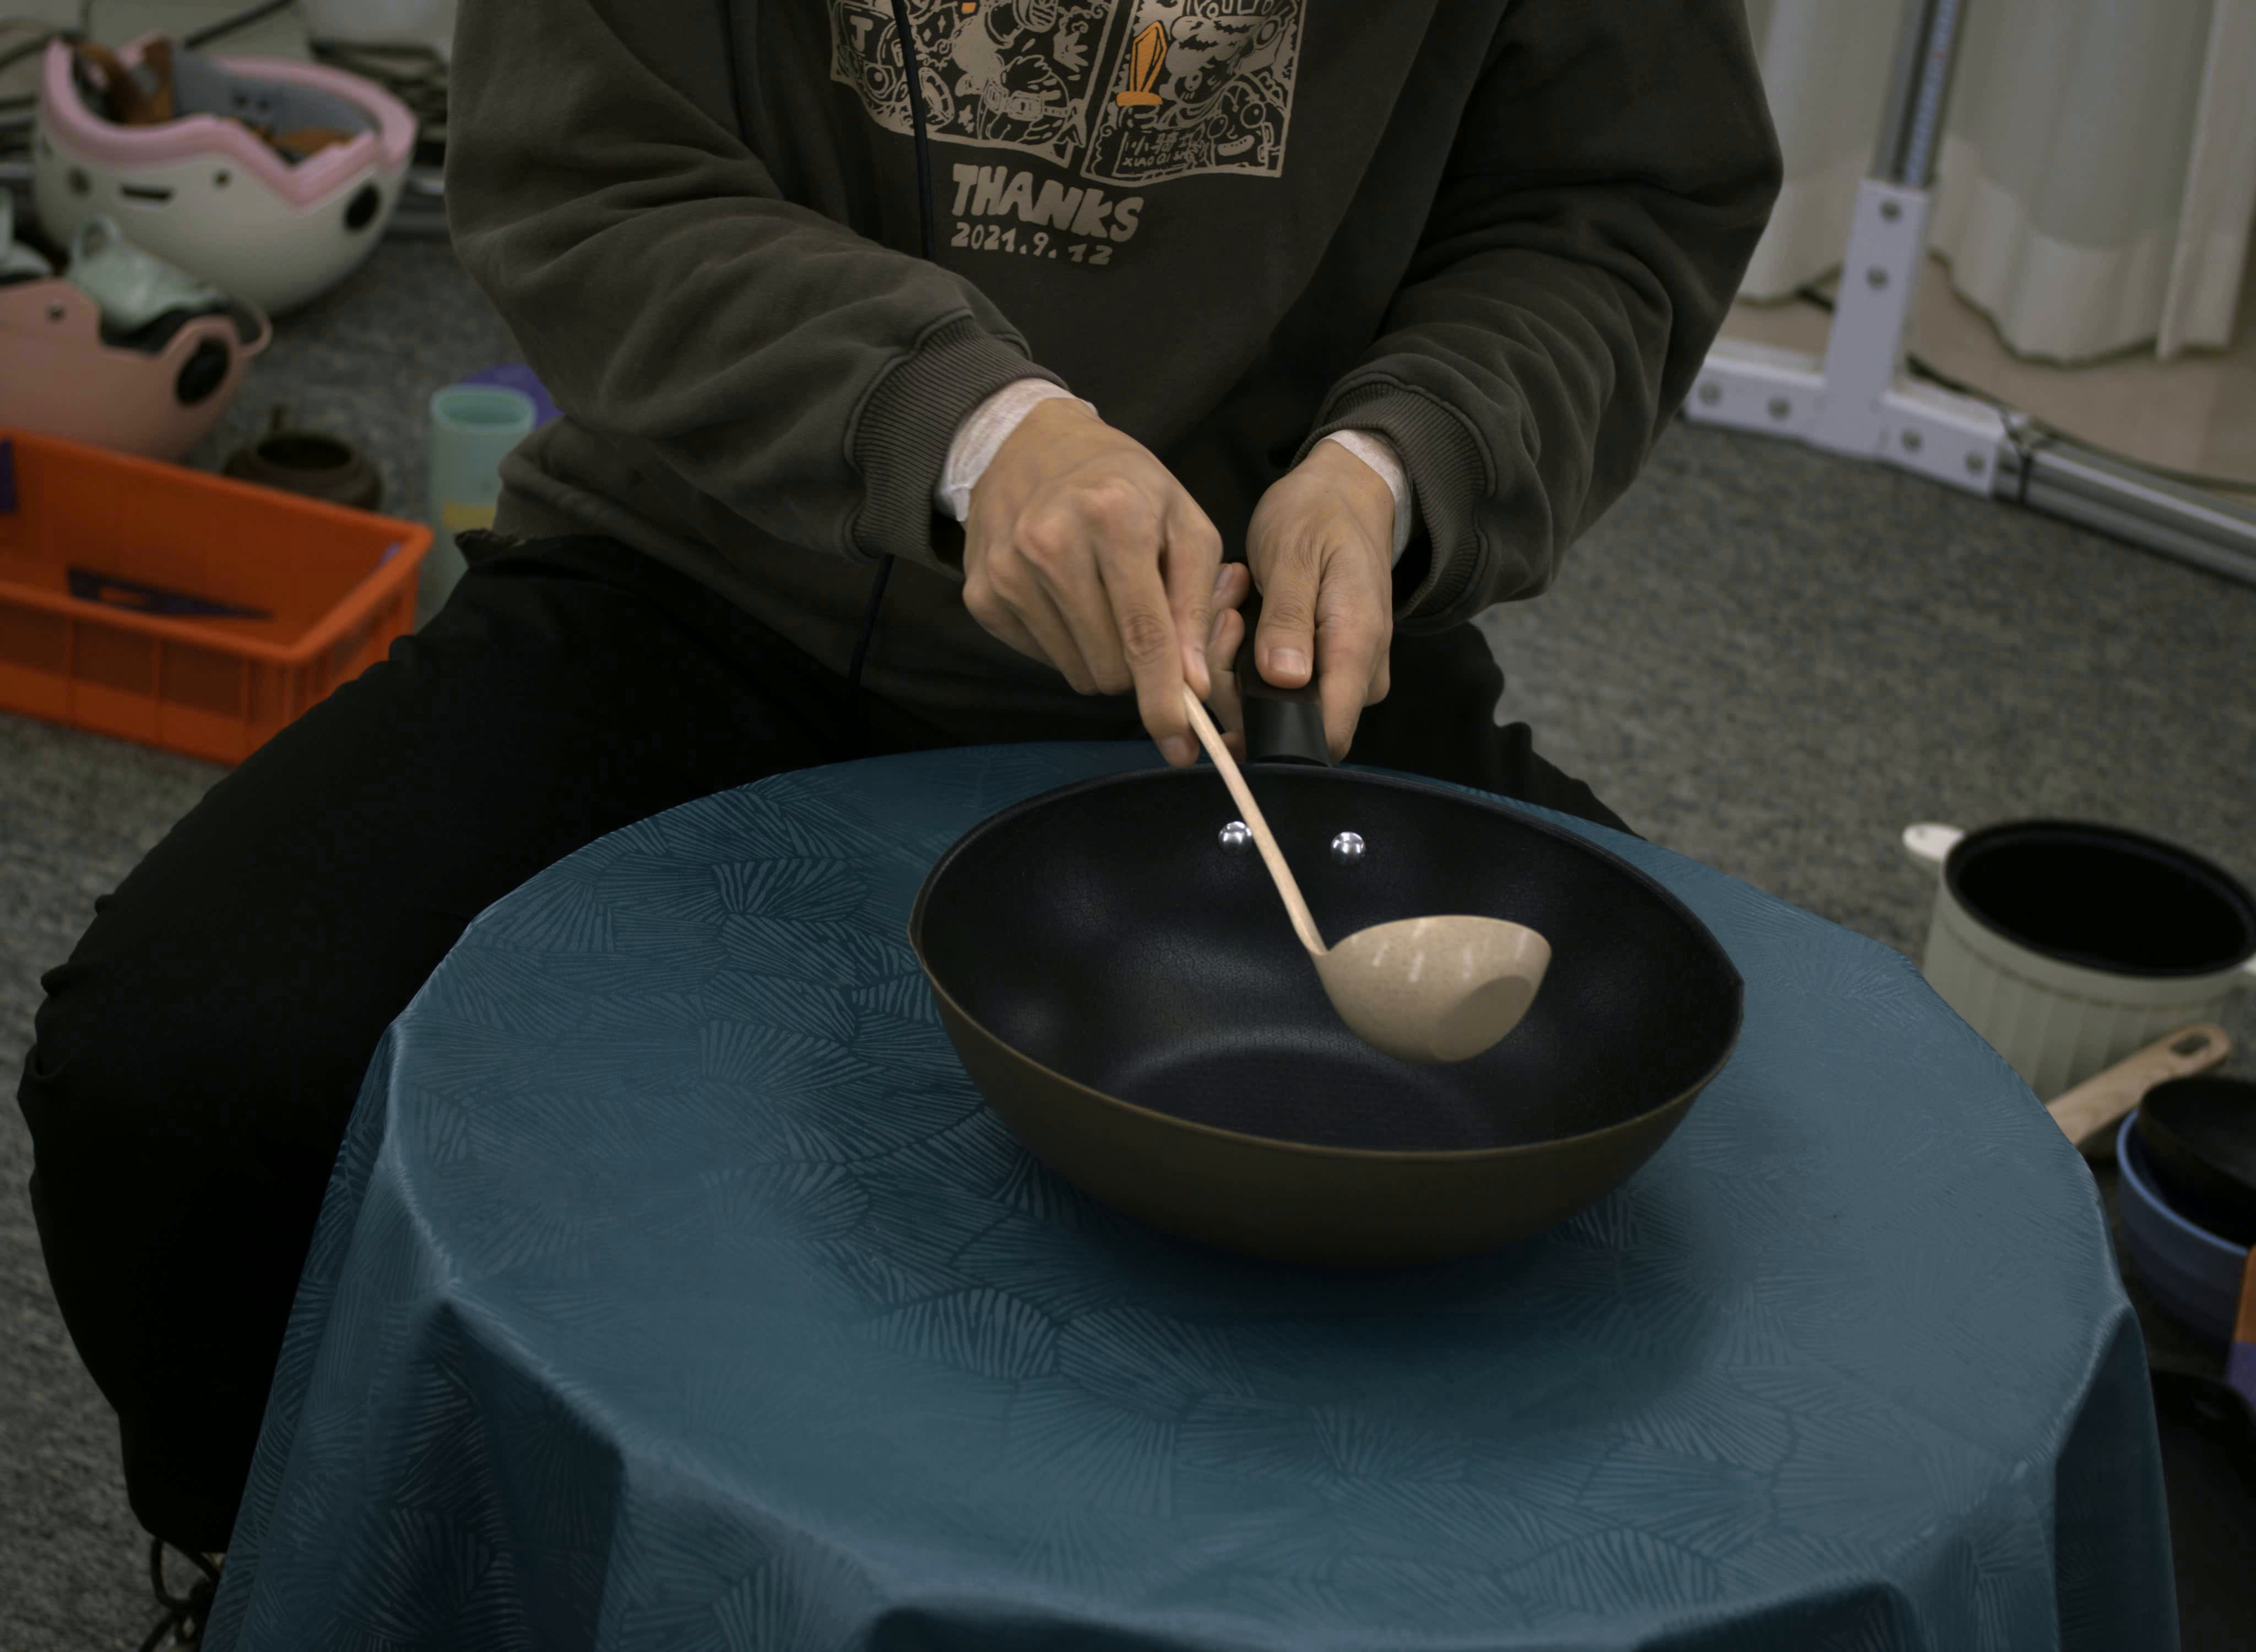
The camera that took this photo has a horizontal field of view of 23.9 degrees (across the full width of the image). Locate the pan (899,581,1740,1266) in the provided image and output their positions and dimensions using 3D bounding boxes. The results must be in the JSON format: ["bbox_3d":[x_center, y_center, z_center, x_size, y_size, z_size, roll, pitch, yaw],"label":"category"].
[{"bbox_3d":[0.058,0.035,1.902,0.287,0.086,0.466,4,25,-5],"label":"pan"}]

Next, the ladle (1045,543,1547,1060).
[{"bbox_3d":[0.057,-0.028,1.821,0.071,0.073,0.257,33,21,-56],"label":"ladle"}]
